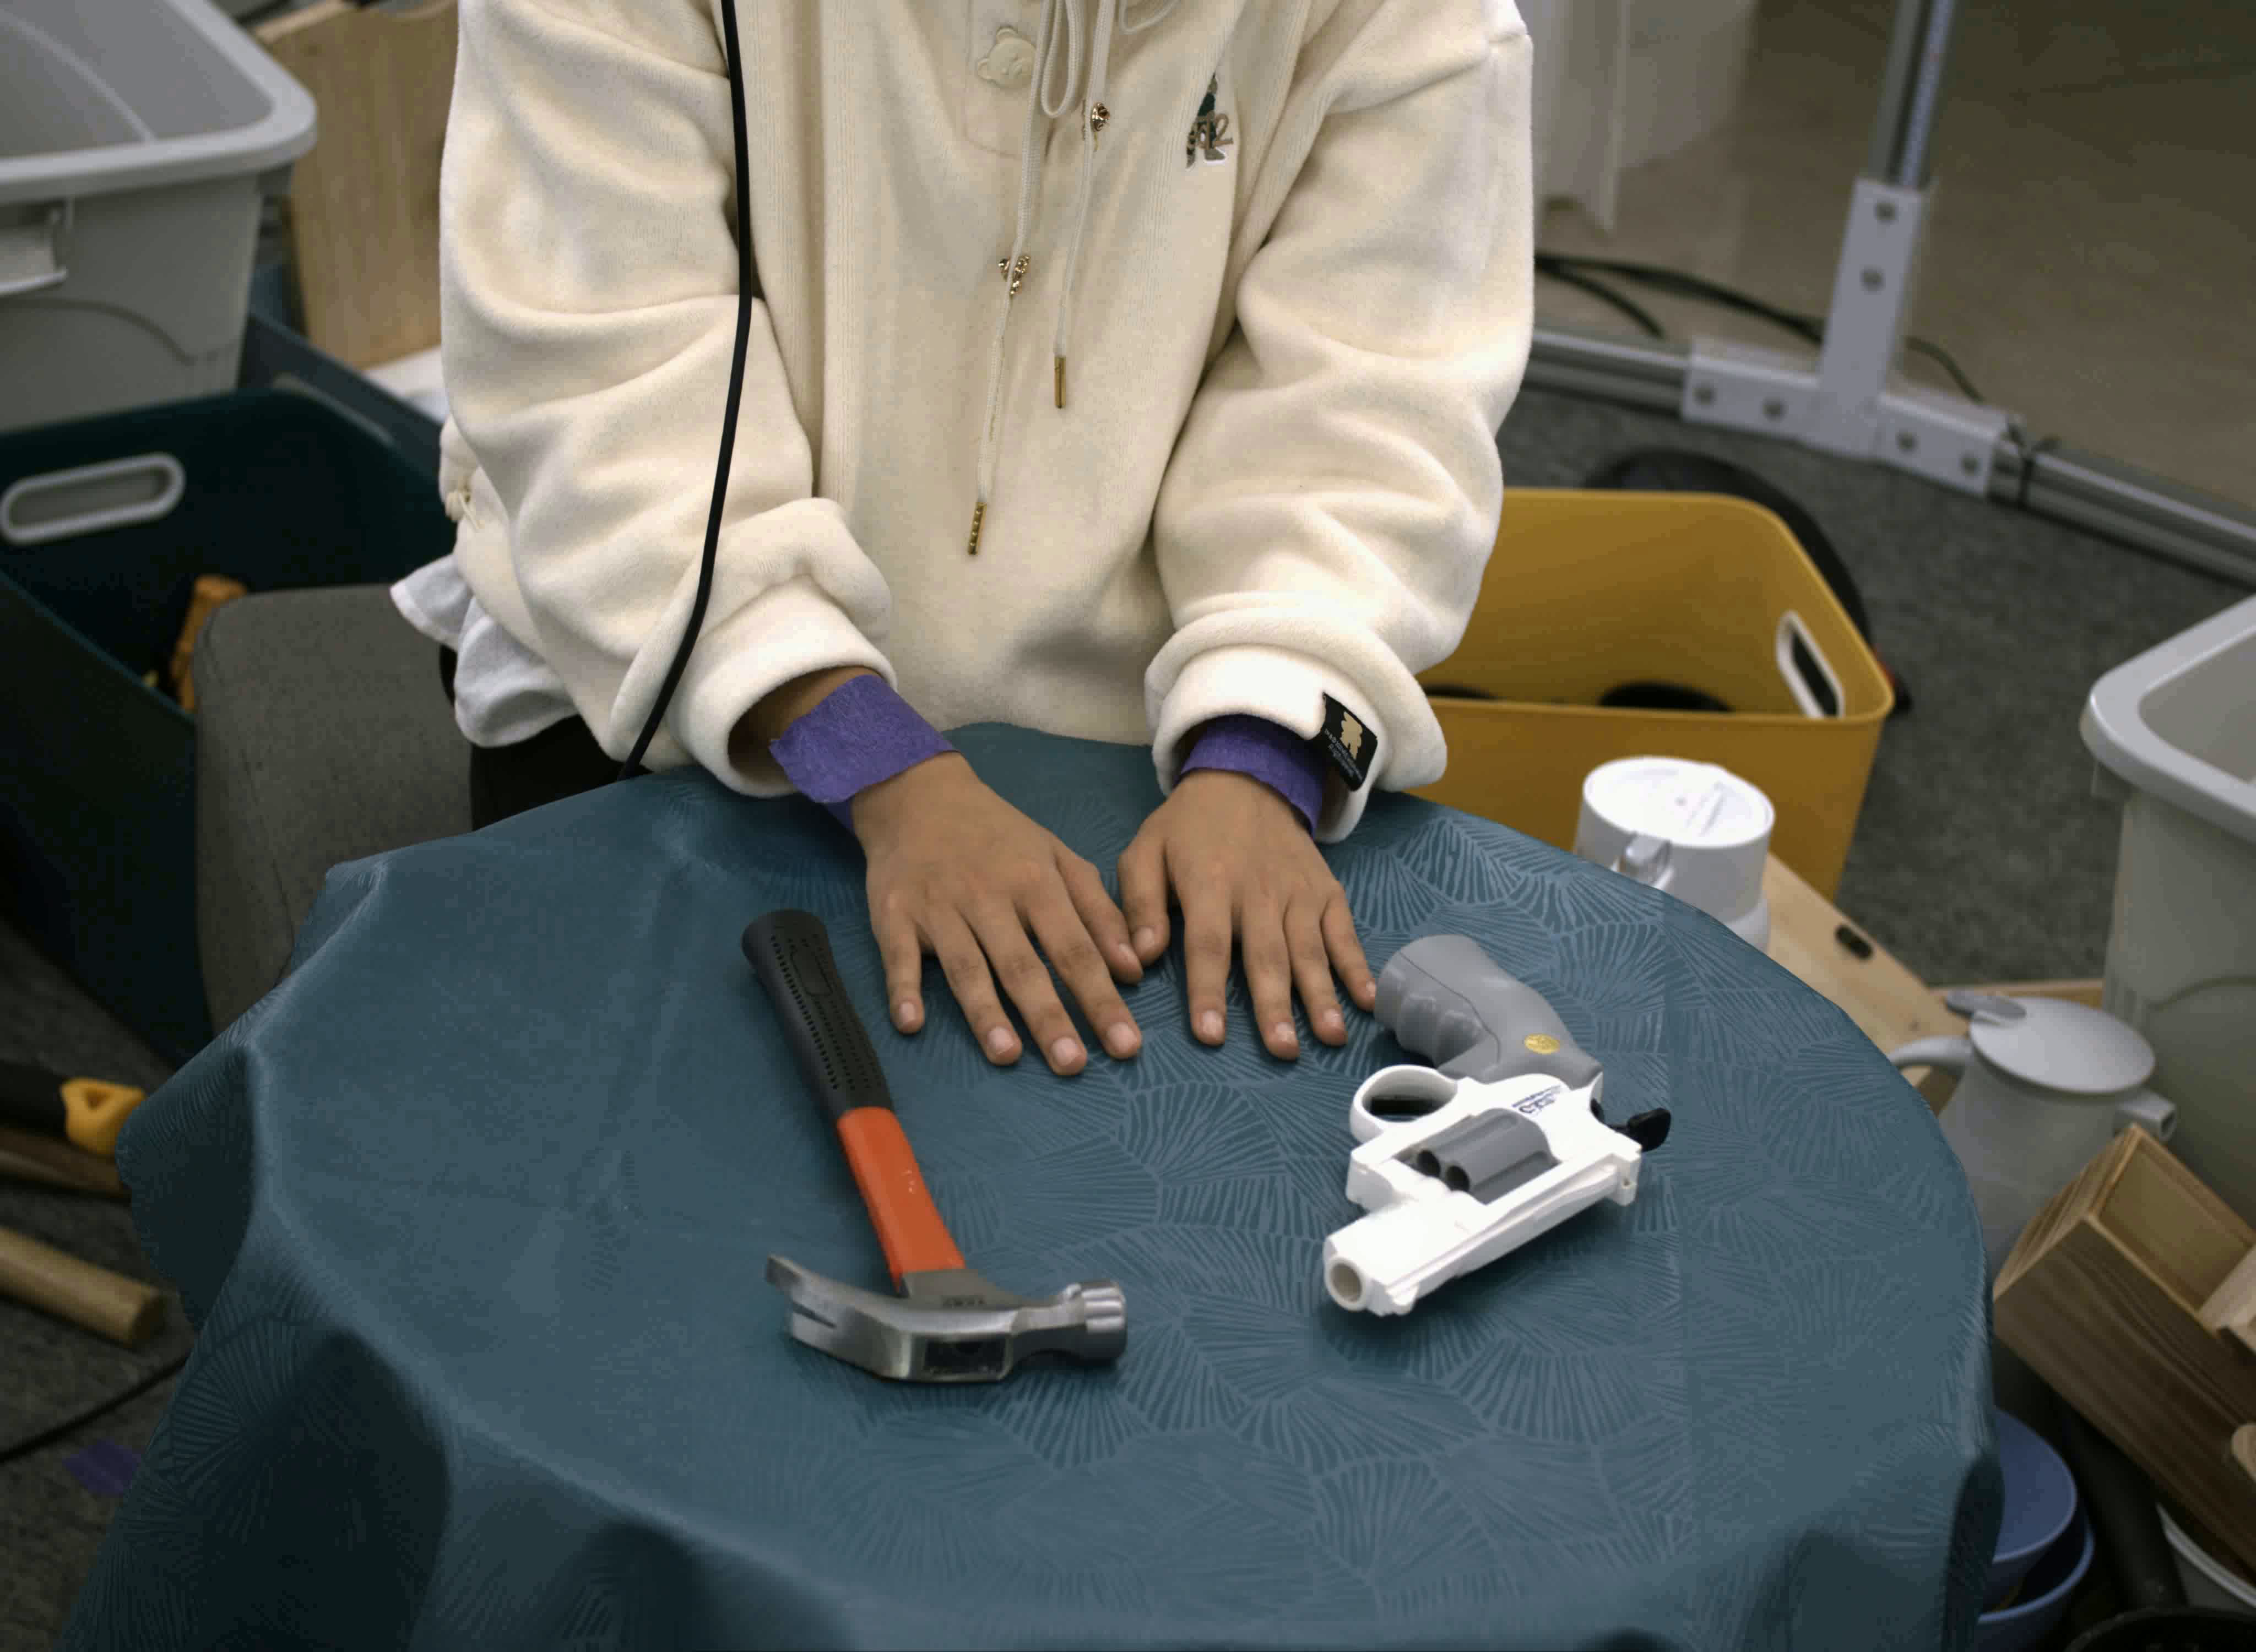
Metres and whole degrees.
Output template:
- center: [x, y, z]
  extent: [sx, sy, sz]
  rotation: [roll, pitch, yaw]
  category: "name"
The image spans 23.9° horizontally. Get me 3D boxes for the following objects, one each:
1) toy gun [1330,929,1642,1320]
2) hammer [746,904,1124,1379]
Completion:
- center: [0.103, 0.101, 1.825]
  extent: [0.142, 0.038, 0.208]
  rotation: [26, 33, 32]
  category: "toy gun"
- center: [-0.089, 0.101, 1.794]
  extent: [0.110, 0.026, 0.280]
  rotation: [-10, 30, -11]
  category: "hammer"
